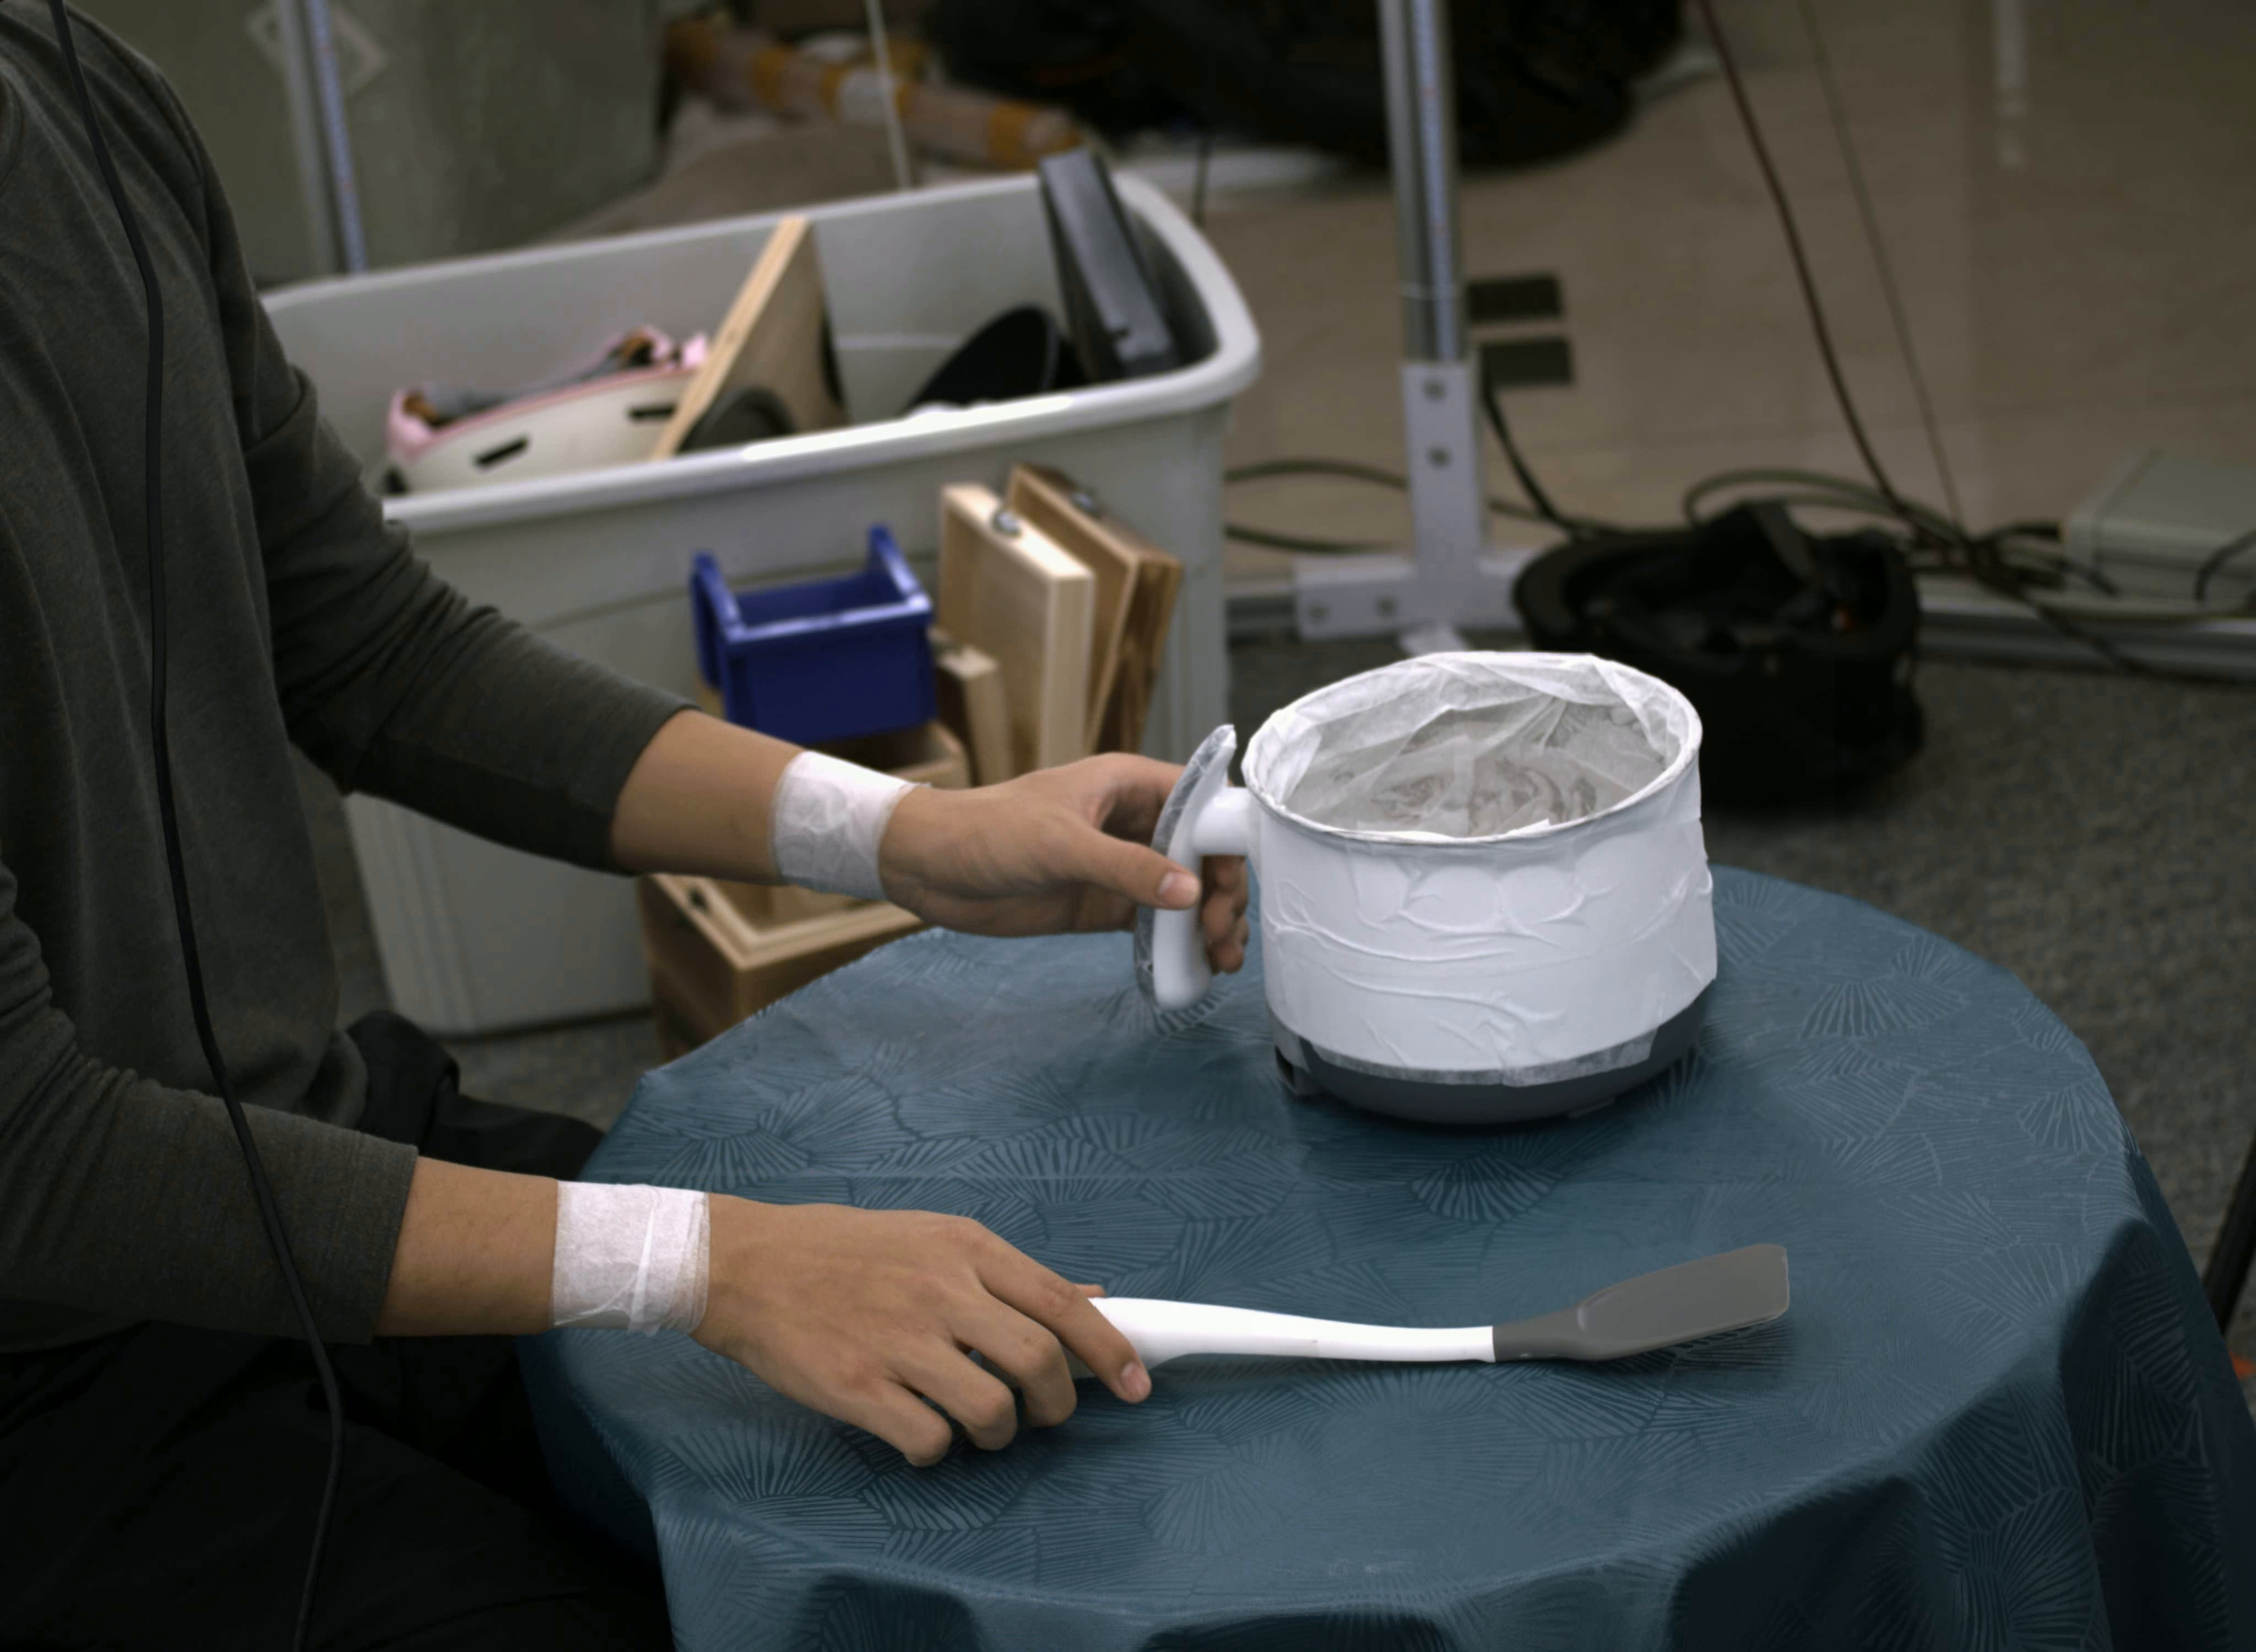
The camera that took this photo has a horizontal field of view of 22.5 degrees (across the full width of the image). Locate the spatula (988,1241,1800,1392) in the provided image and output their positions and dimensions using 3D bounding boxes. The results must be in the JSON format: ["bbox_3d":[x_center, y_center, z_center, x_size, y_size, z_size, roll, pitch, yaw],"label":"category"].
[{"bbox_3d":[0.094,0.176,2.009,0.287,0.033,0.058,-4,22,7],"label":"spatula"}]

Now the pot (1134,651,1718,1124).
[{"bbox_3d":[0.112,0.025,2.205,0.233,0.139,0.176,1,26,17],"label":"pot"}]
